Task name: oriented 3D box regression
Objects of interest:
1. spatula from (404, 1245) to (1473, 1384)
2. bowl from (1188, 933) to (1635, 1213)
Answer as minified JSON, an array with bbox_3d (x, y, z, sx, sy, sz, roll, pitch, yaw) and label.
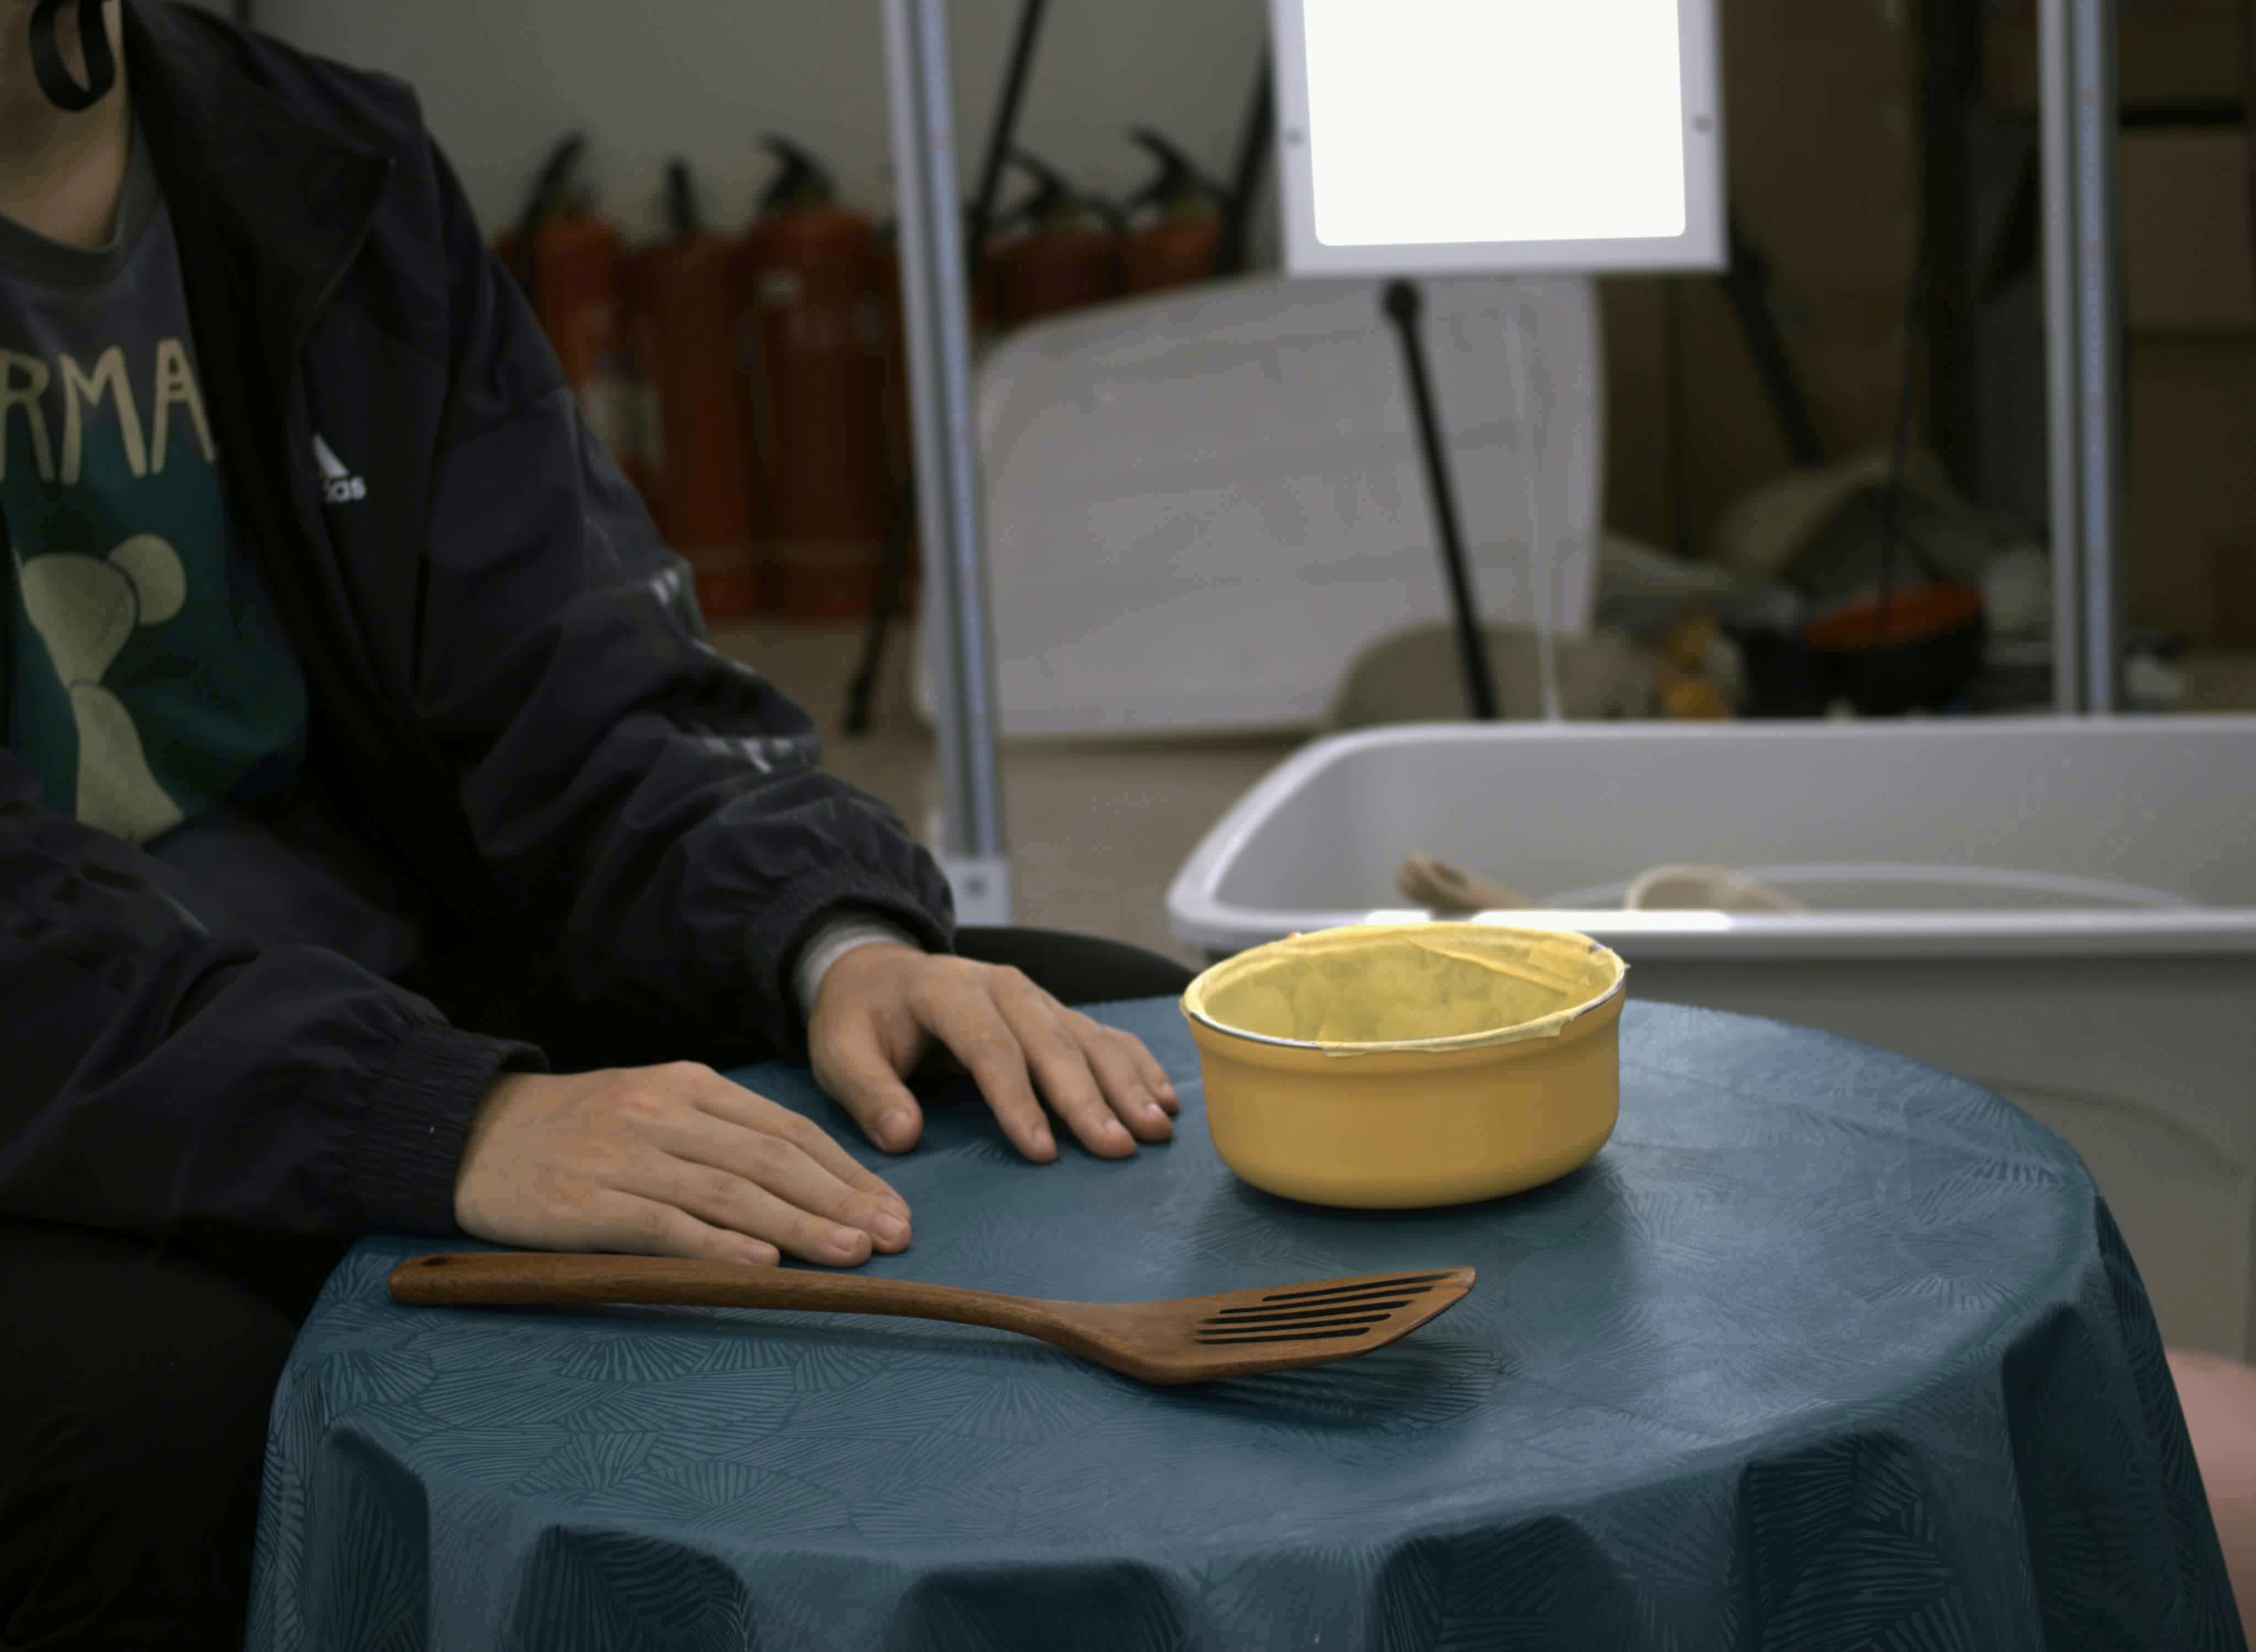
[{"bbox_3d":[-0.072,0.154,1.772,0.394,0.024,0.083,1,14,30],"label":"spatula"},{"bbox_3d":[0.095,0.084,1.905,0.150,0.074,0.181,-8,15,-17],"label":"bowl"}]
